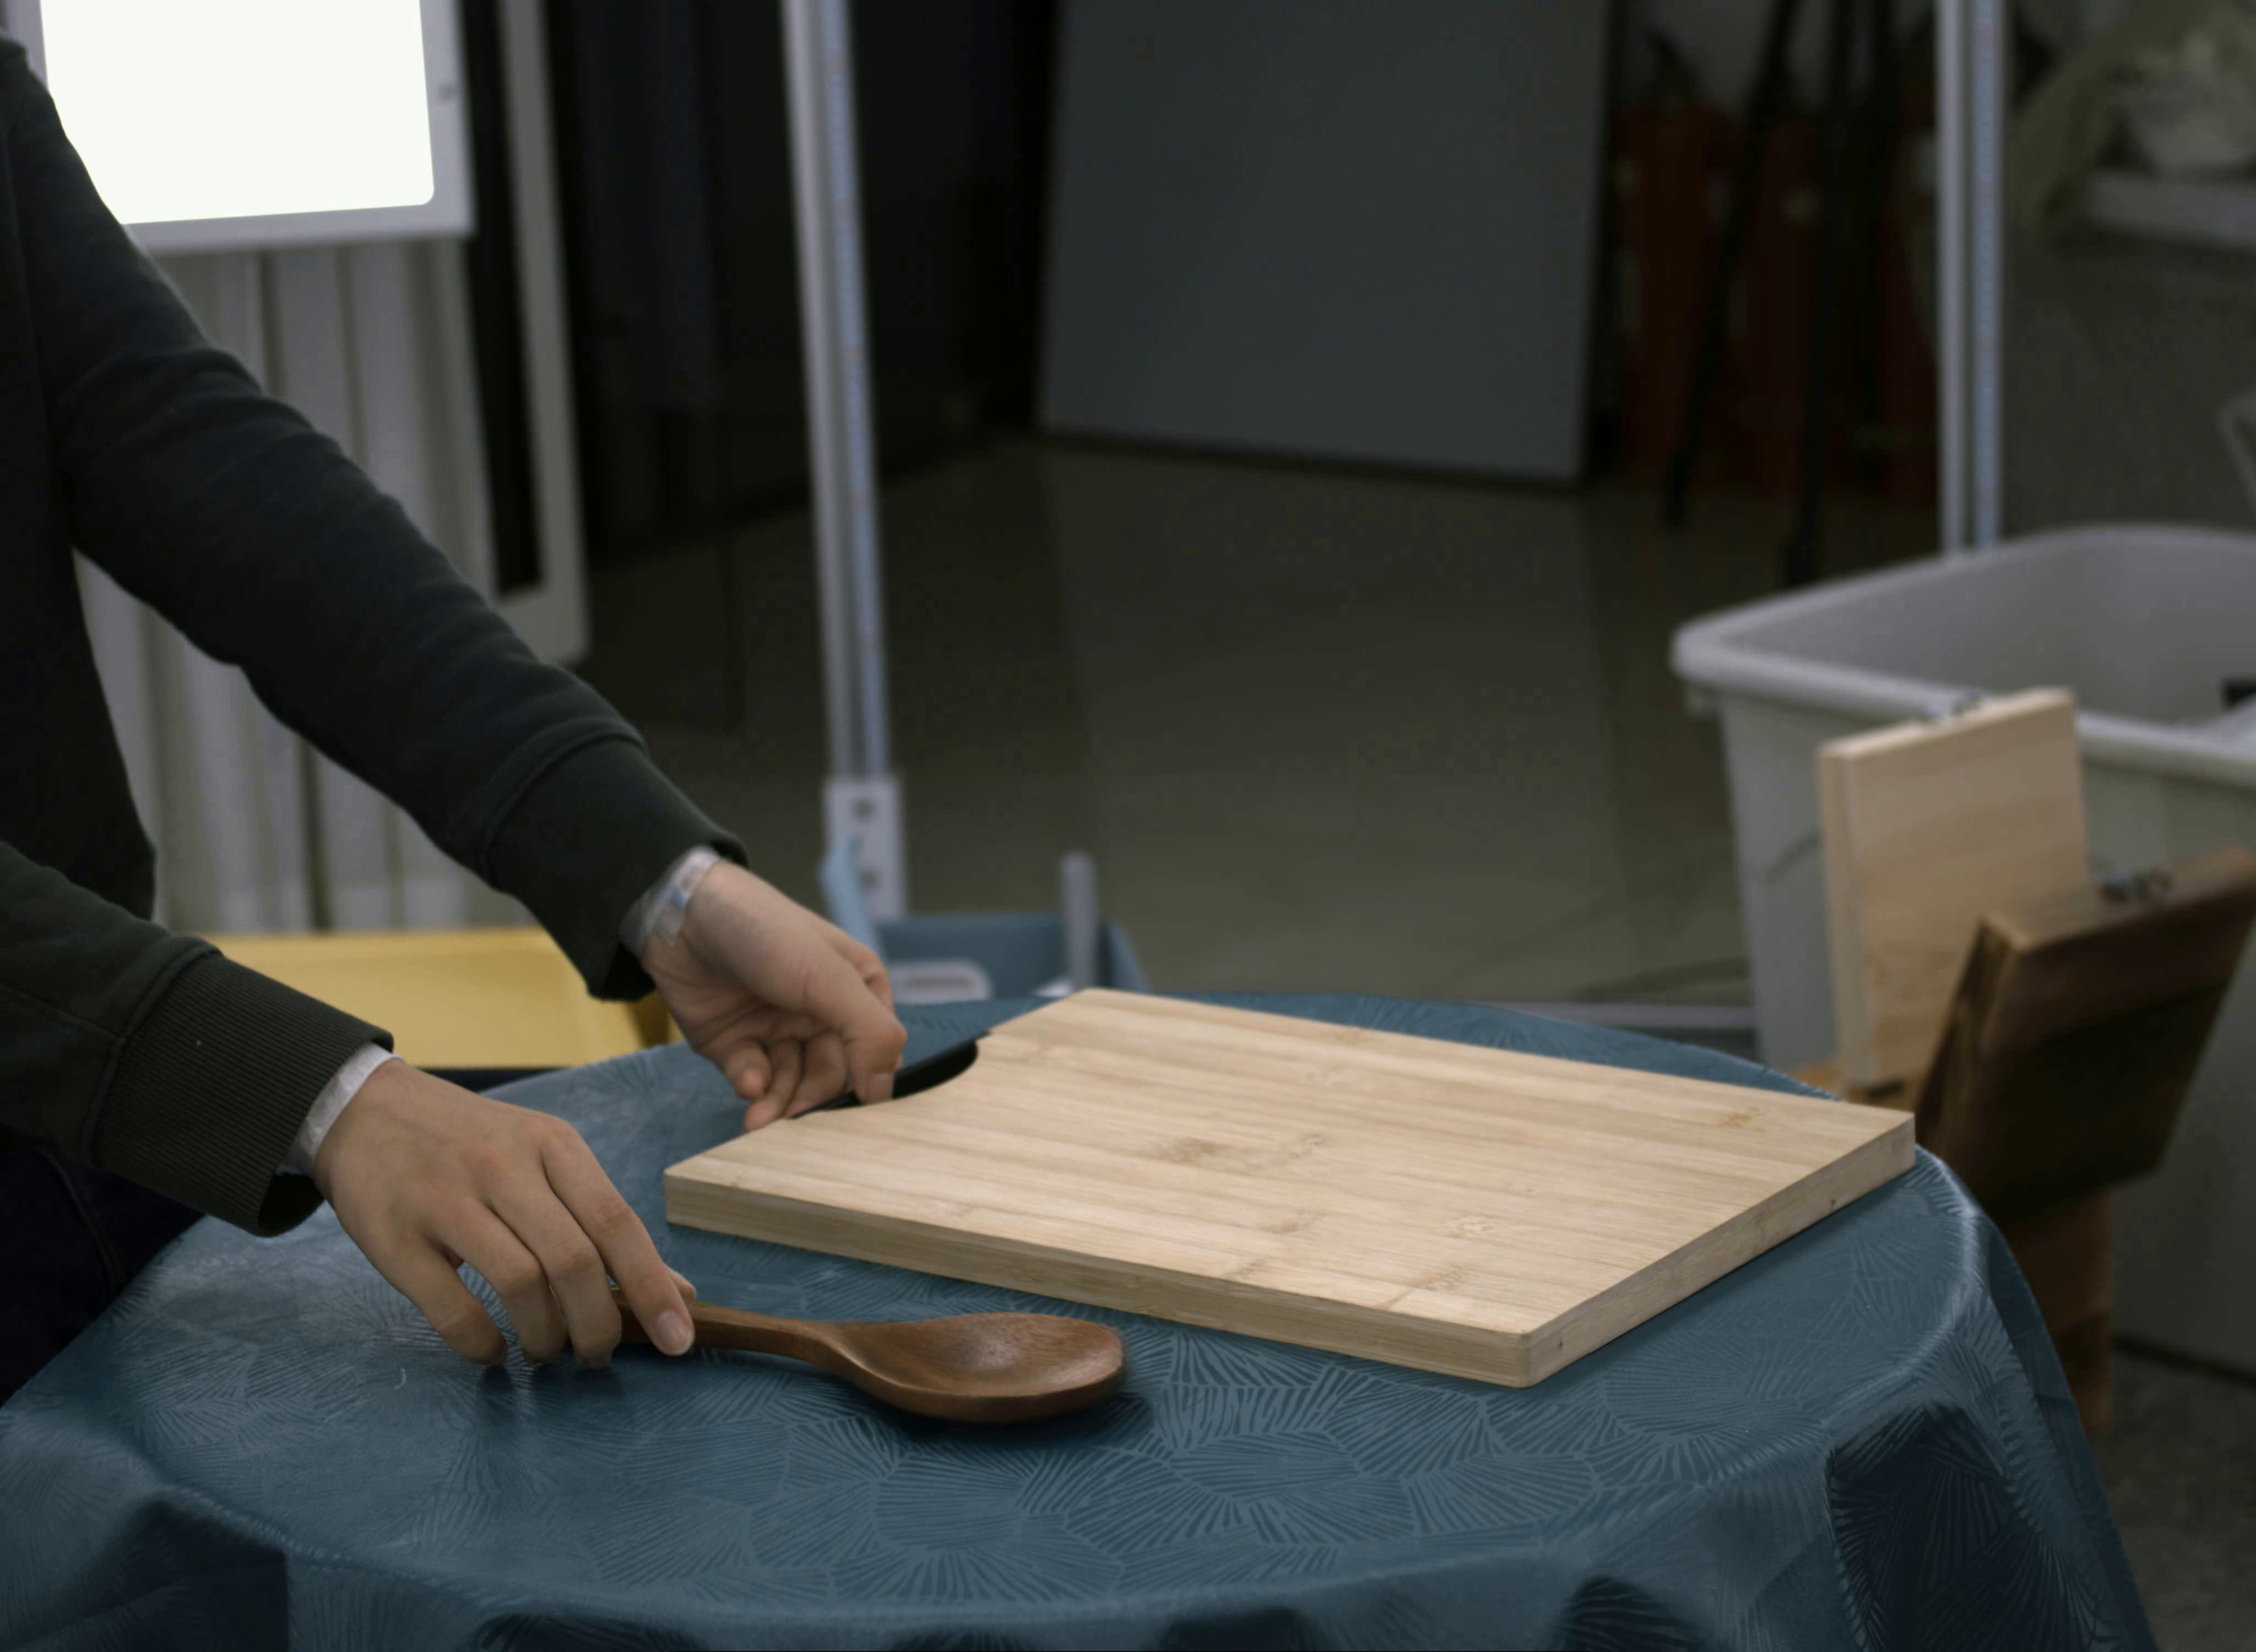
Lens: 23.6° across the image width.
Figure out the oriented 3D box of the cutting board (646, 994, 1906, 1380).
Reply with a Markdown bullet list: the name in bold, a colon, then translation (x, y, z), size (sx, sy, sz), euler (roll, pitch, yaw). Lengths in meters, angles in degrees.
- **cutting board**: translation (0.047, 0.112, 1.760), size (0.351, 0.024, 0.246), euler (6, 17, 36)

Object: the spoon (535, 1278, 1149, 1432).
- **spoon**: translation (-0.089, 0.157, 1.617), size (0.217, 0.017, 0.074), euler (6, 18, 33)
